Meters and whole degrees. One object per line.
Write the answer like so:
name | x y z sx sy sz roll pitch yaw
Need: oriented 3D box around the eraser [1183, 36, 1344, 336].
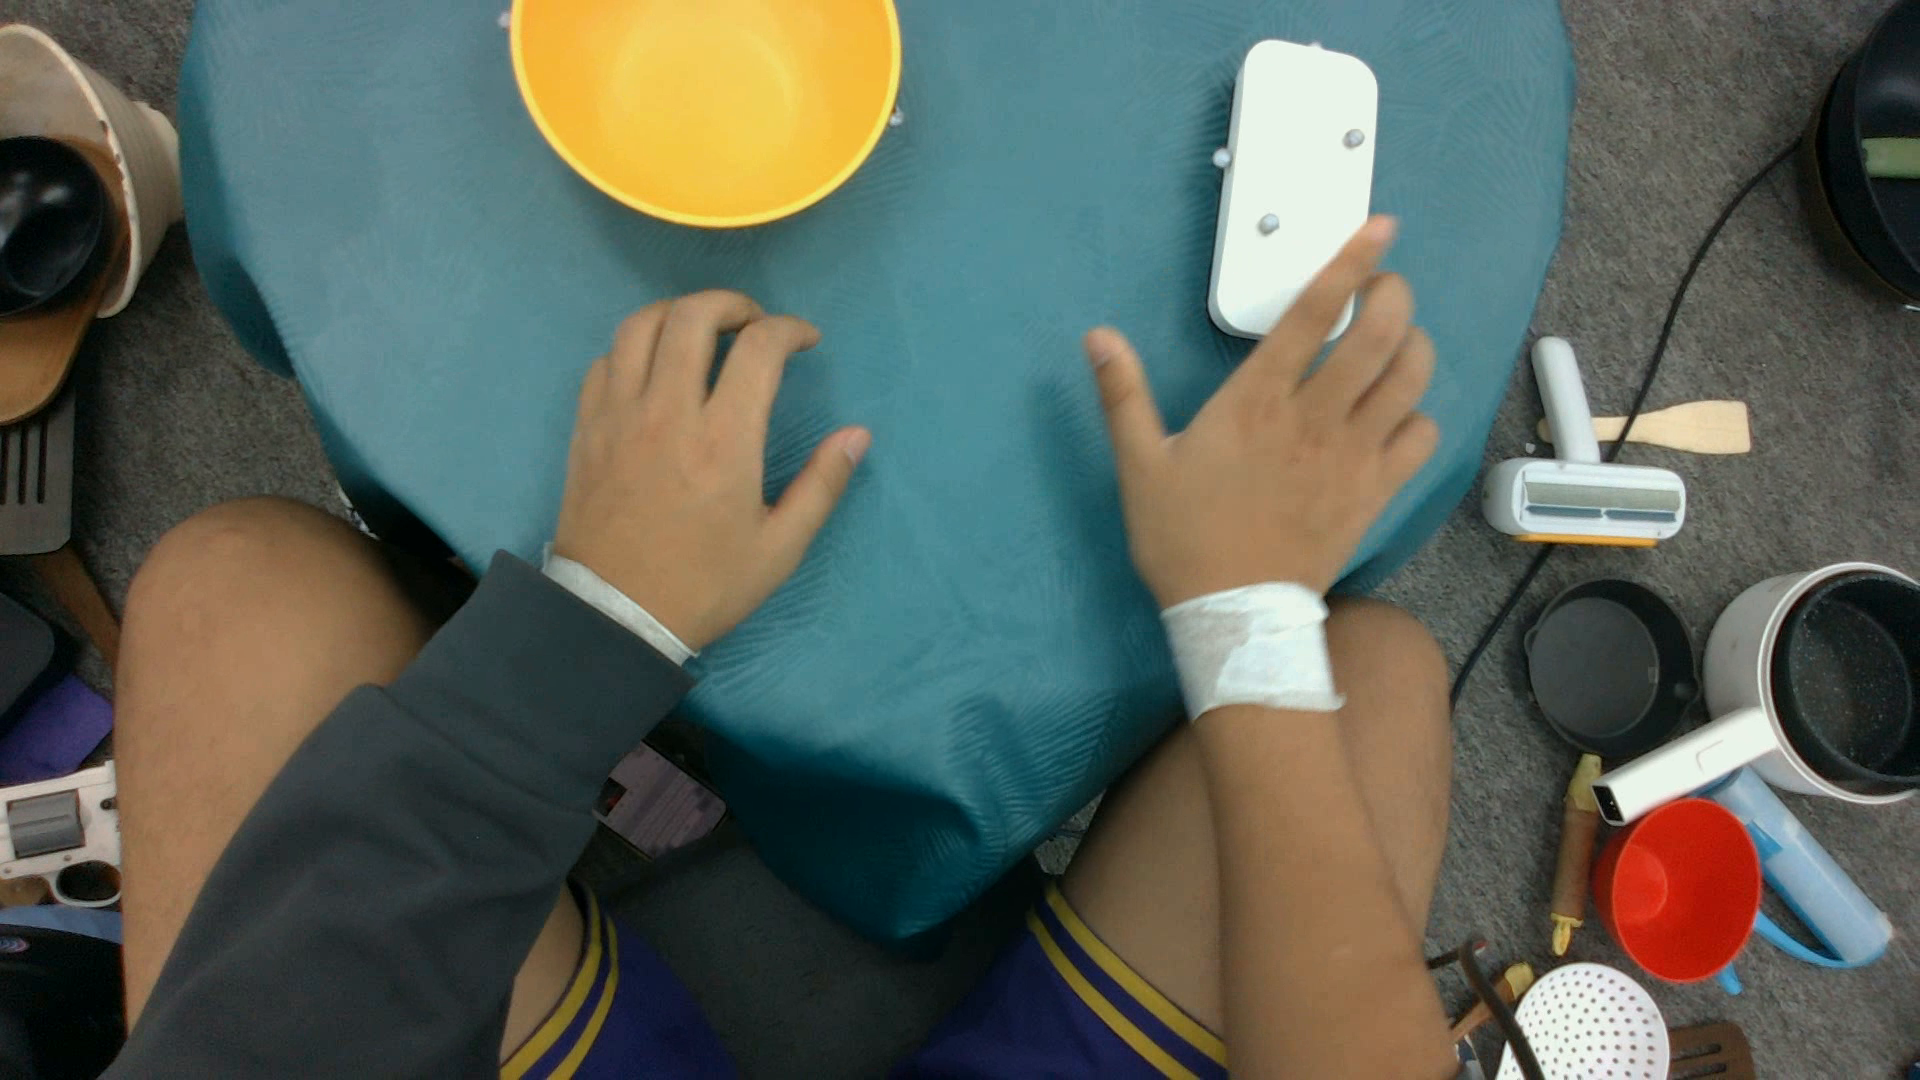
eraser | 0.132 -0.156 0.607 0.063 0.034 0.131 8 81 -9

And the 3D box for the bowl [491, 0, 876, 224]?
bowl | -0.108 -0.189 0.554 0.145 0.060 0.145 1 85 -9
